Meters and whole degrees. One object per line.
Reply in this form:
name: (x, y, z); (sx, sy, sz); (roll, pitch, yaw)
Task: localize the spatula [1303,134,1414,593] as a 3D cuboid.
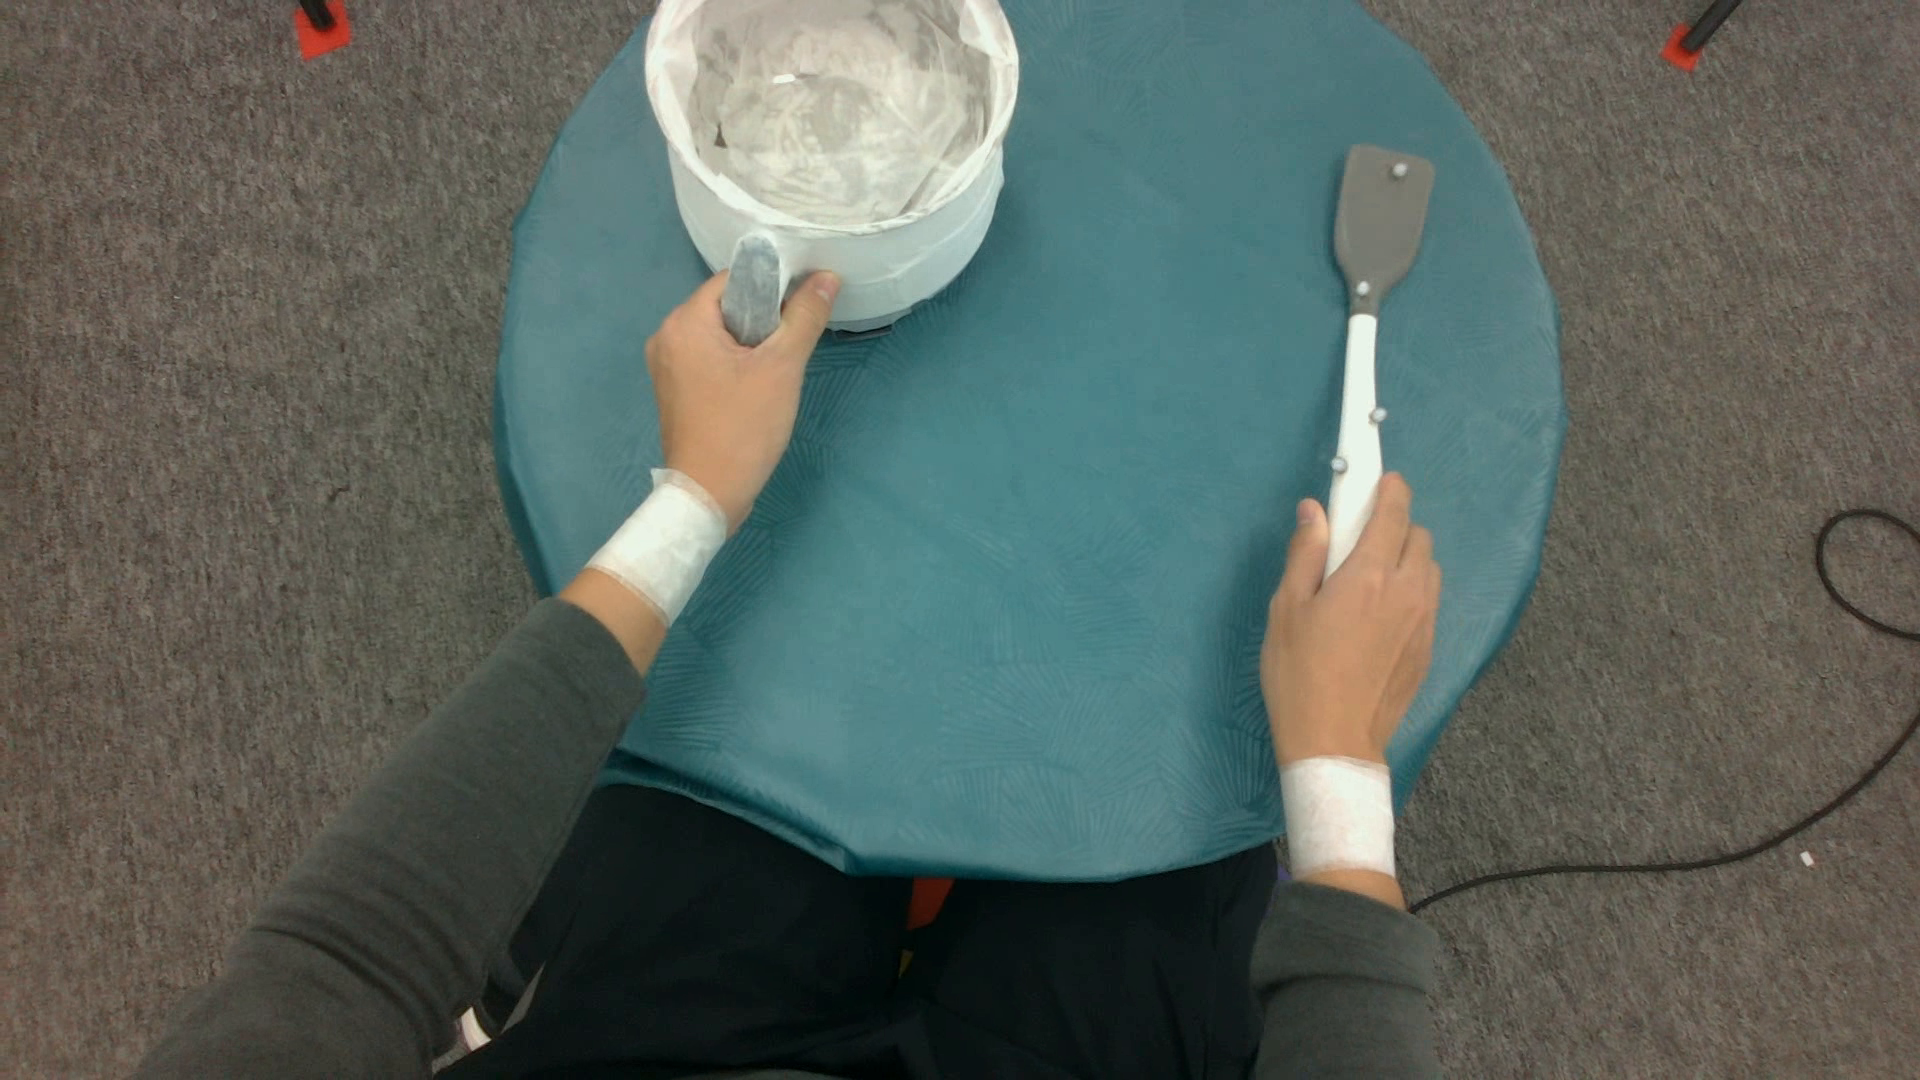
spatula: (0.217, -0.107, 0.766); (0.058, 0.032, 0.288); (11, 65, 1)

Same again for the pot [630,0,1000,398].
pot: (-0.082, -0.192, 0.715); (0.179, 0.136, 0.234); (18, 75, 0)
